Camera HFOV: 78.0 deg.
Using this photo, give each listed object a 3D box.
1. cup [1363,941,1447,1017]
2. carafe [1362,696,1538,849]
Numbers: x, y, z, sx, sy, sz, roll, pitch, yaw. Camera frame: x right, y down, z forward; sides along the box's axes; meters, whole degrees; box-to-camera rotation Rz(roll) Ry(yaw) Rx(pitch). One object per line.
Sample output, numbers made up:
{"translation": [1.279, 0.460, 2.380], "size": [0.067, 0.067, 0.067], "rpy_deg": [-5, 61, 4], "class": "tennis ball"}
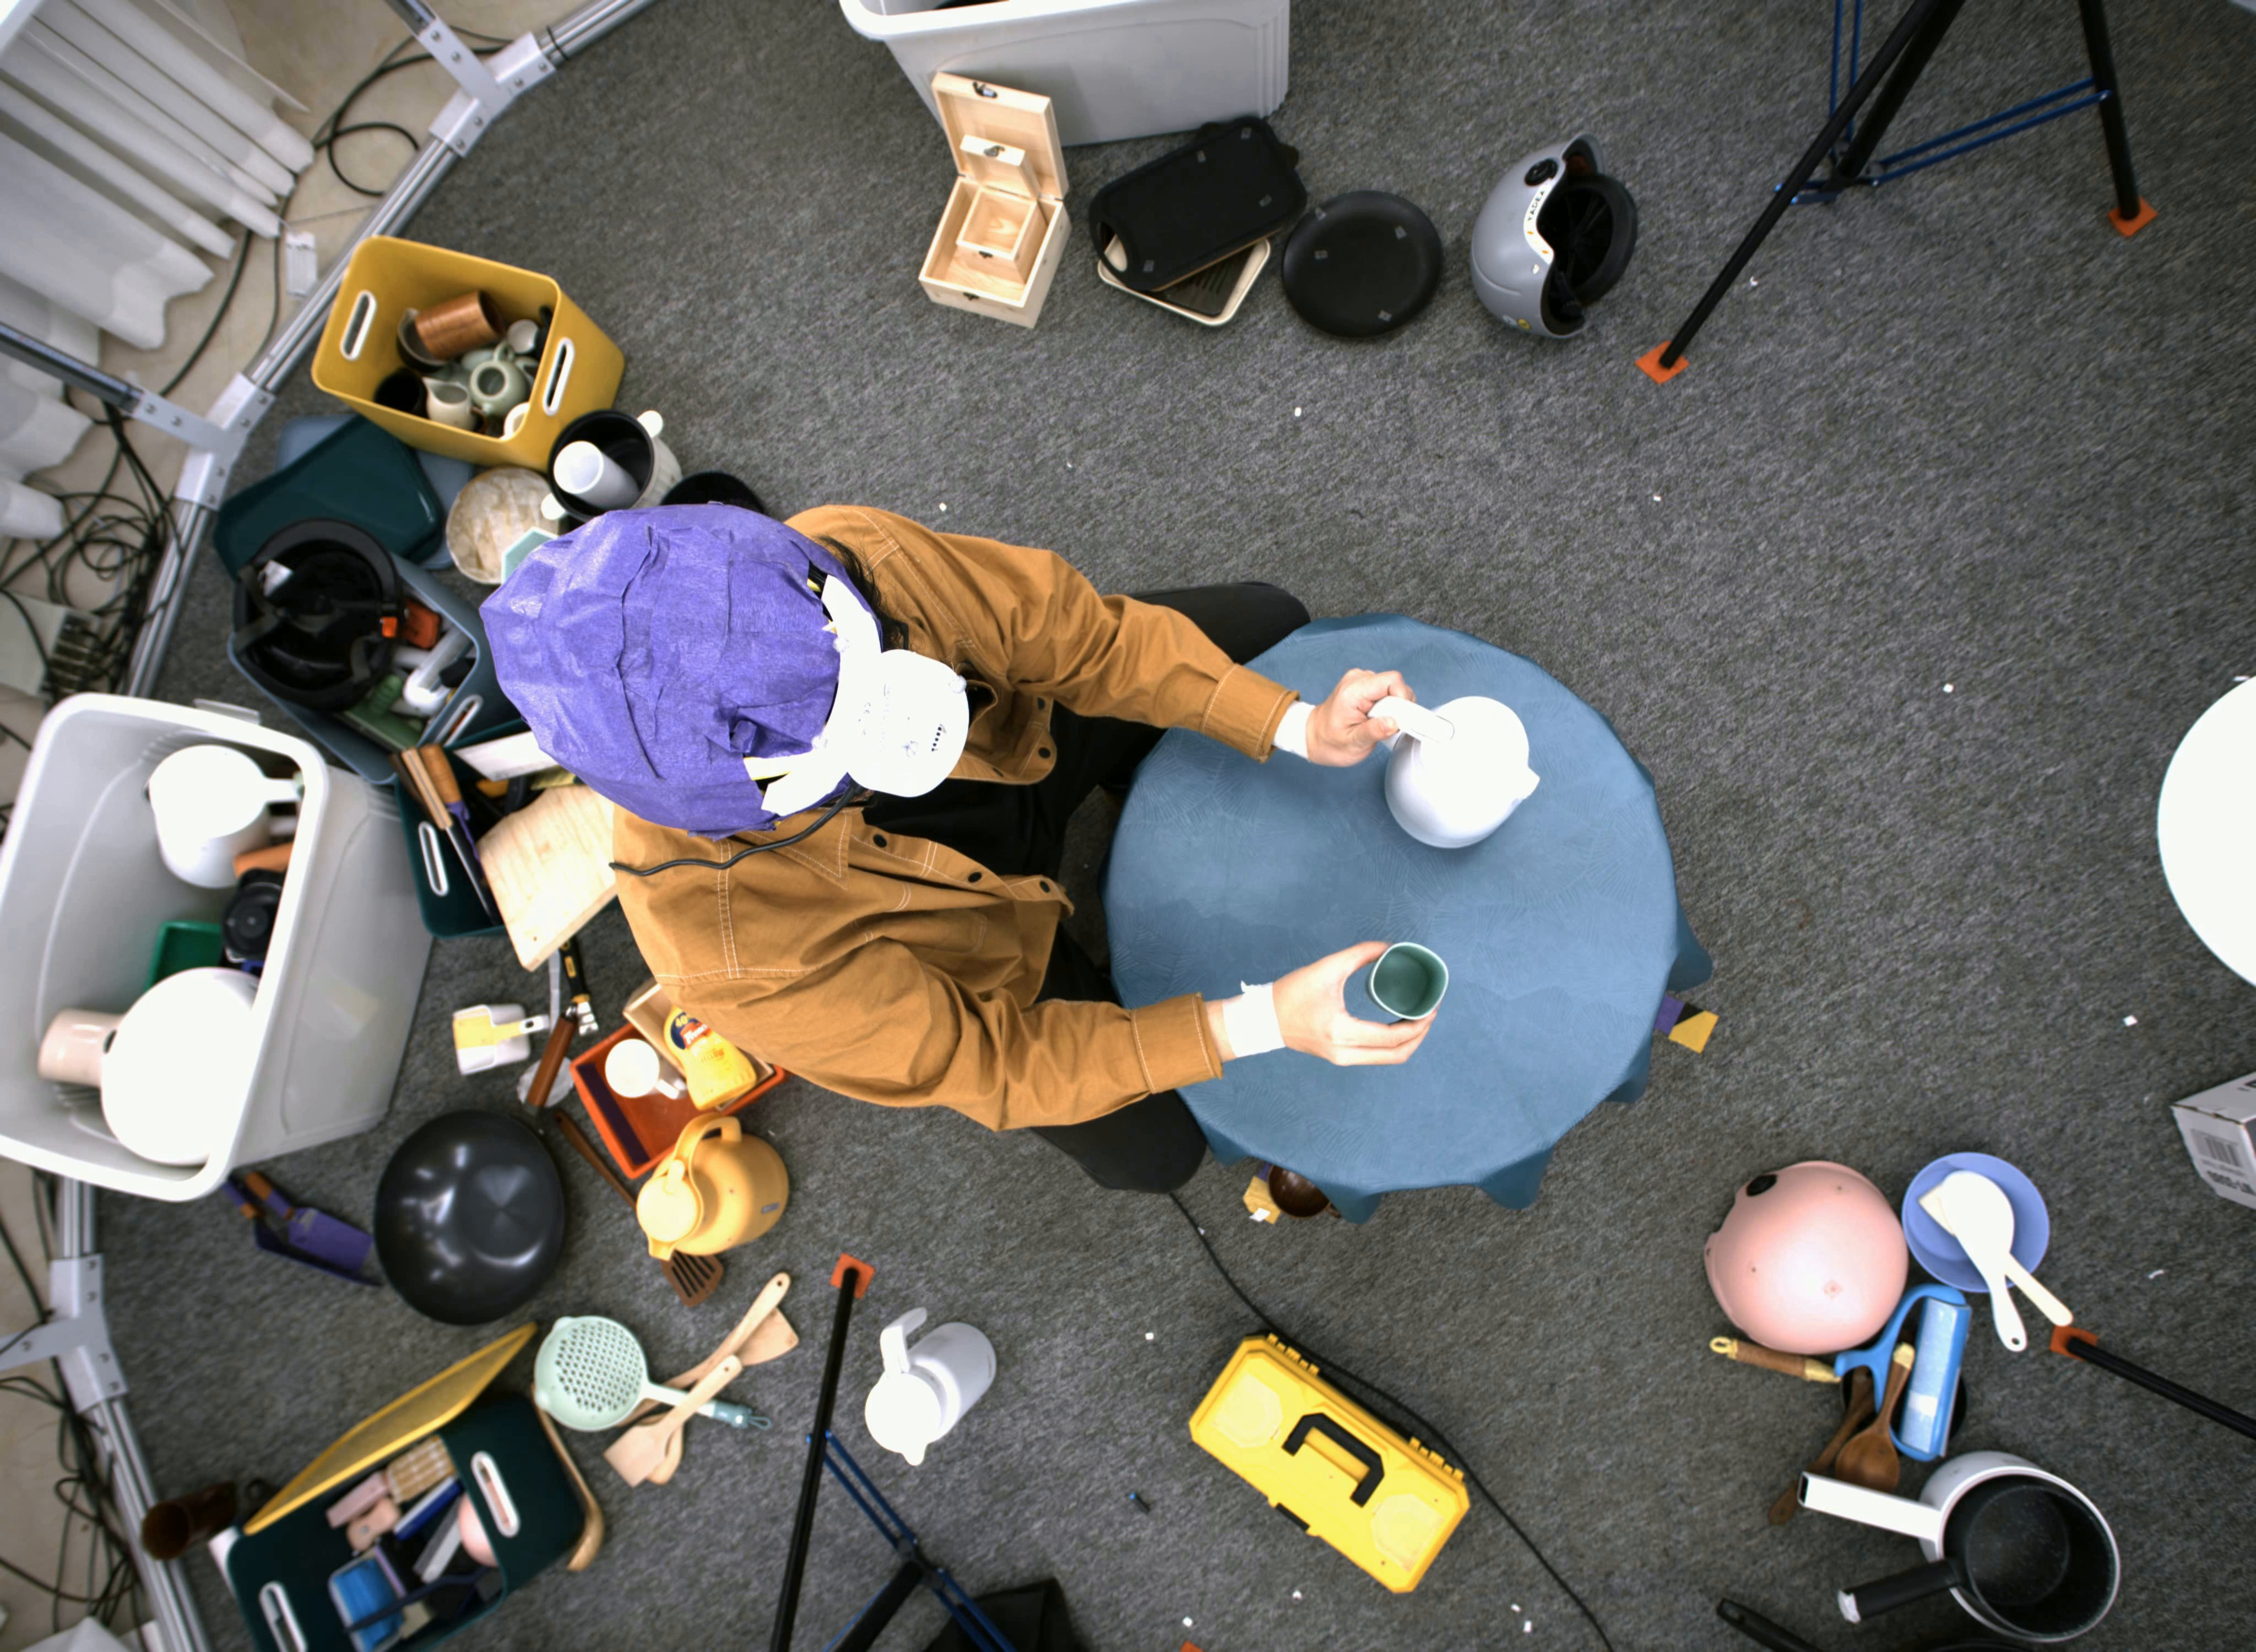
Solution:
{"translation": [0.249, 0.140, 1.257], "size": [0.067, 0.133, 0.066], "rpy_deg": [-1, 83, 7], "class": "cup"}
{"translation": [0.297, -0.065, 1.302], "size": [0.167, 0.249, 0.132], "rpy_deg": [31, 90, 10], "class": "carafe"}
